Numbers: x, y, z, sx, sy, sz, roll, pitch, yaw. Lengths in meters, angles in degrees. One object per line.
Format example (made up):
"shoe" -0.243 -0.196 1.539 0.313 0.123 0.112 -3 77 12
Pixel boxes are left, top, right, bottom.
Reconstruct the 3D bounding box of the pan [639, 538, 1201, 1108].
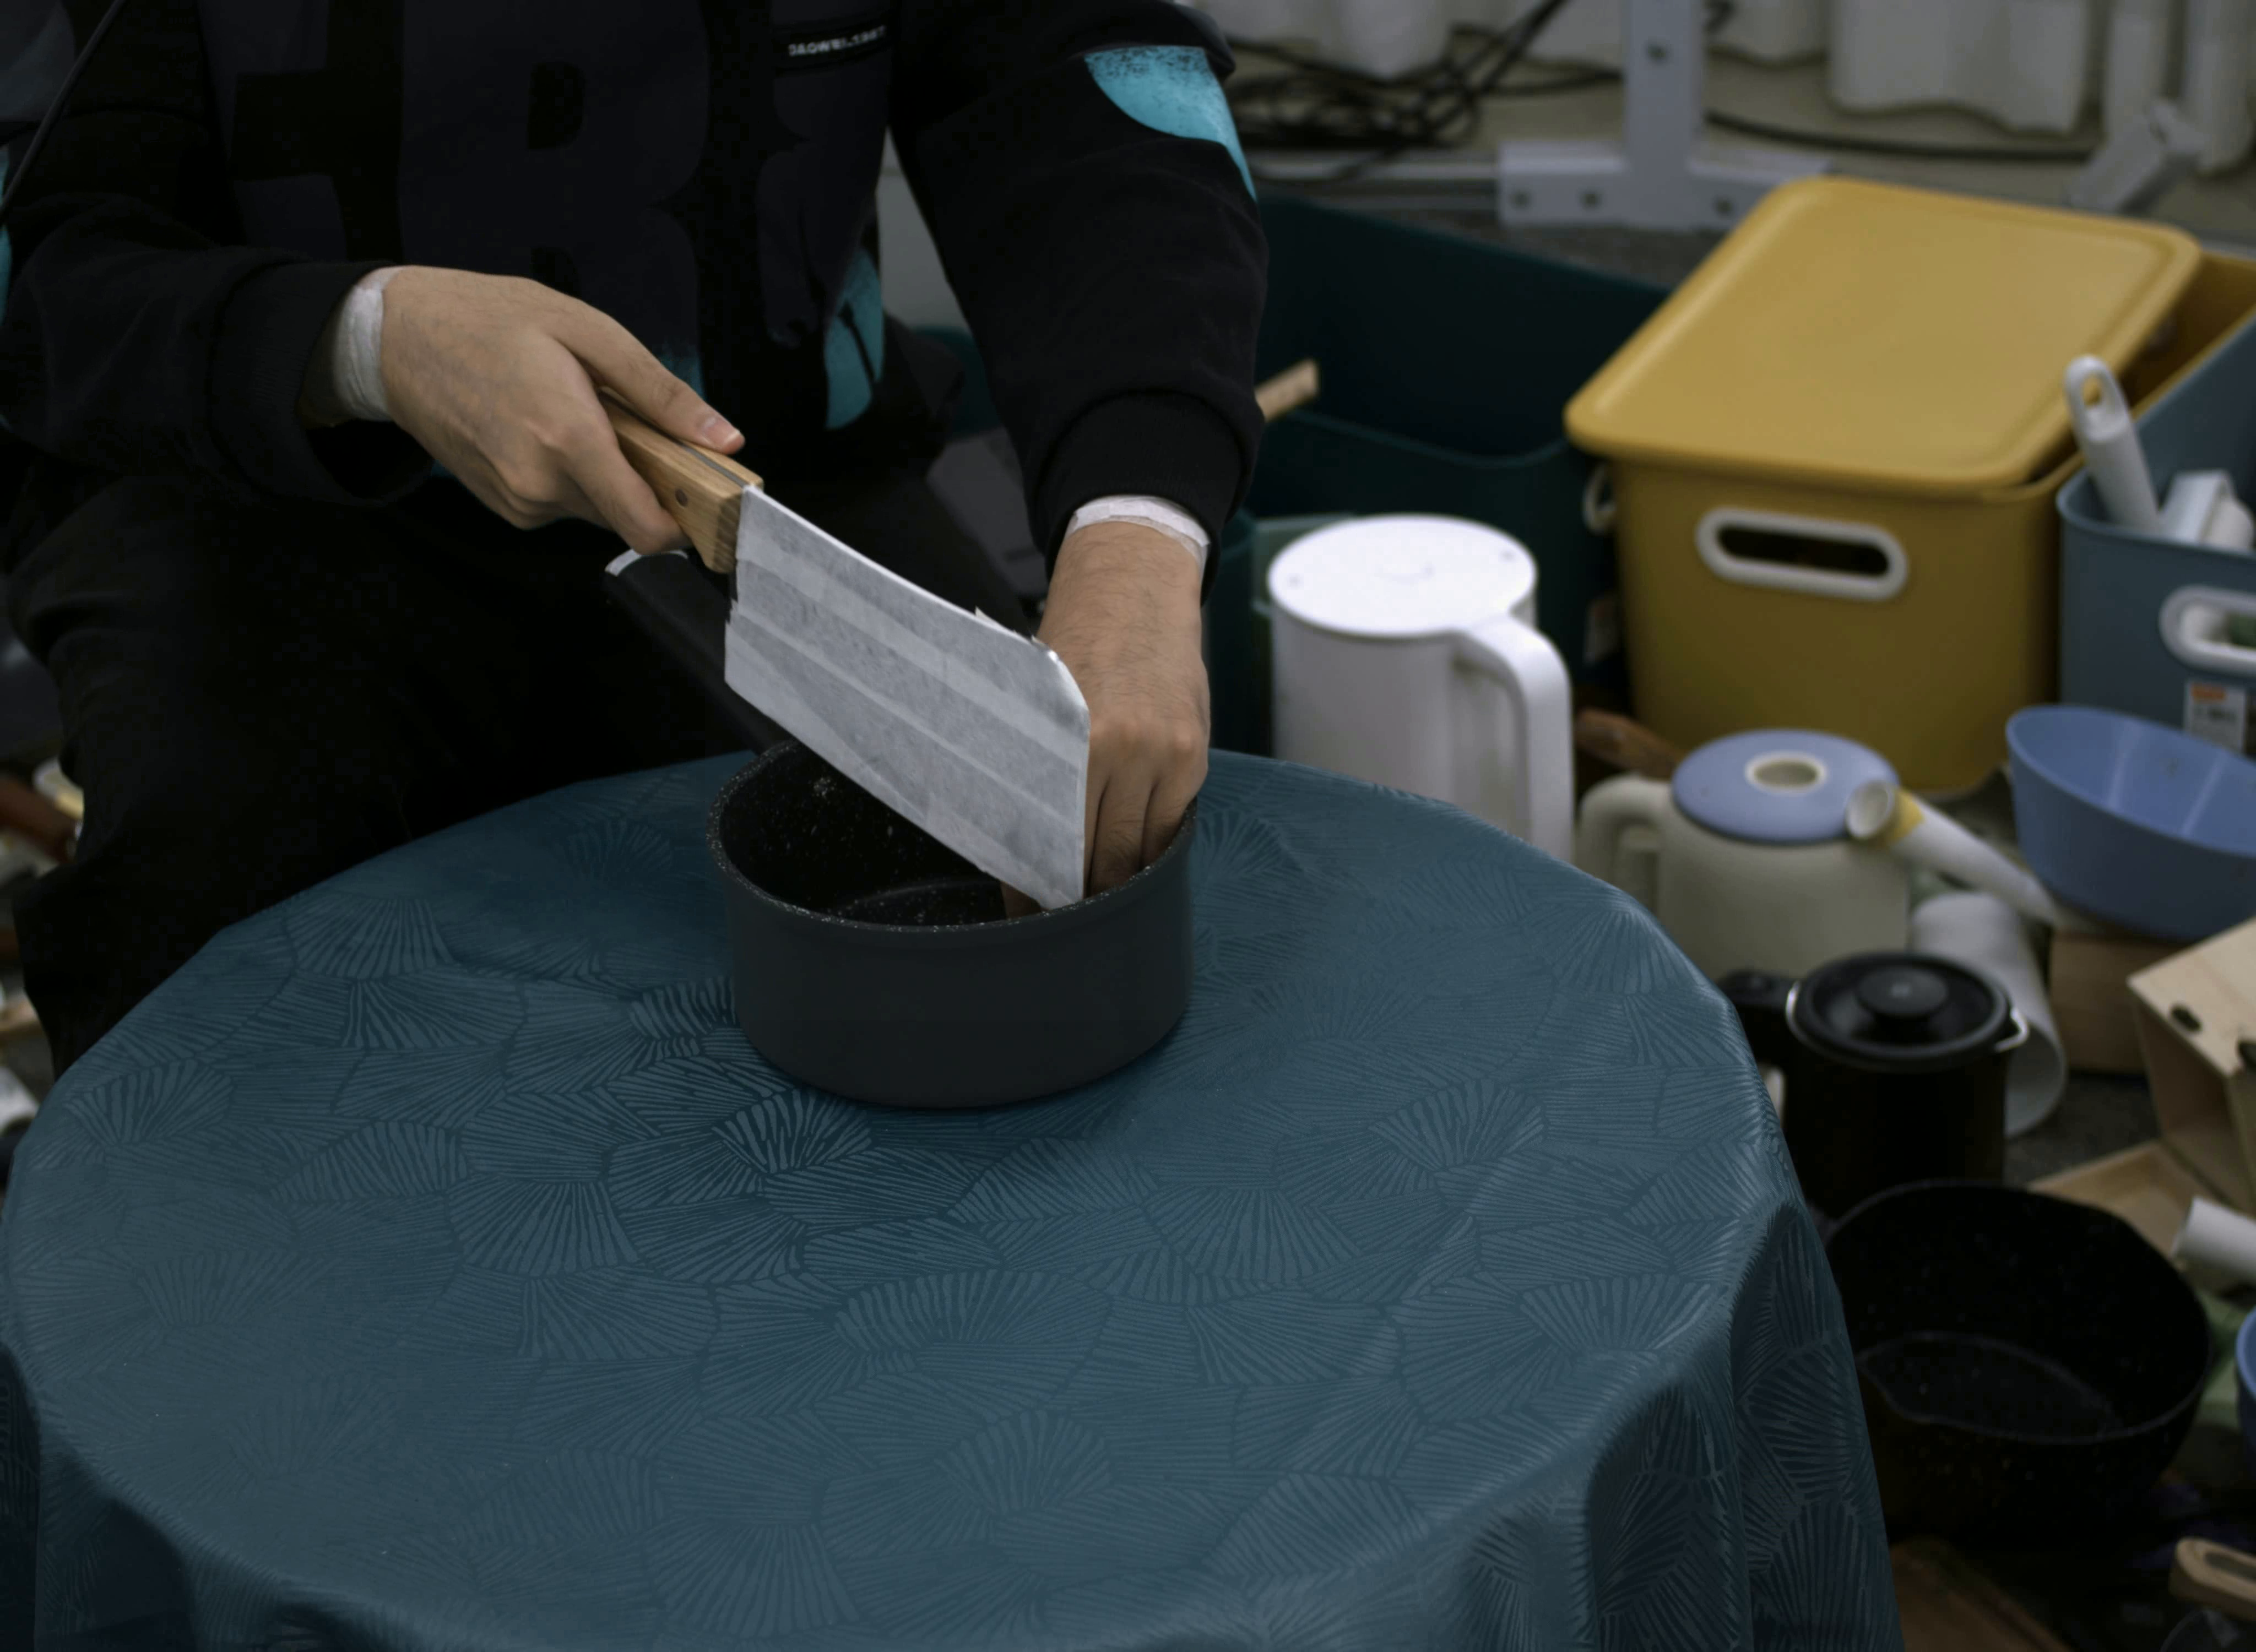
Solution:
"pan" -0.097 -0.005 2.025 0.173 0.085 0.330 -14 30 -25

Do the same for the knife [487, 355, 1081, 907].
"knife" -0.119 -0.081 1.958 0.022 0.112 0.316 -24 47 -38
